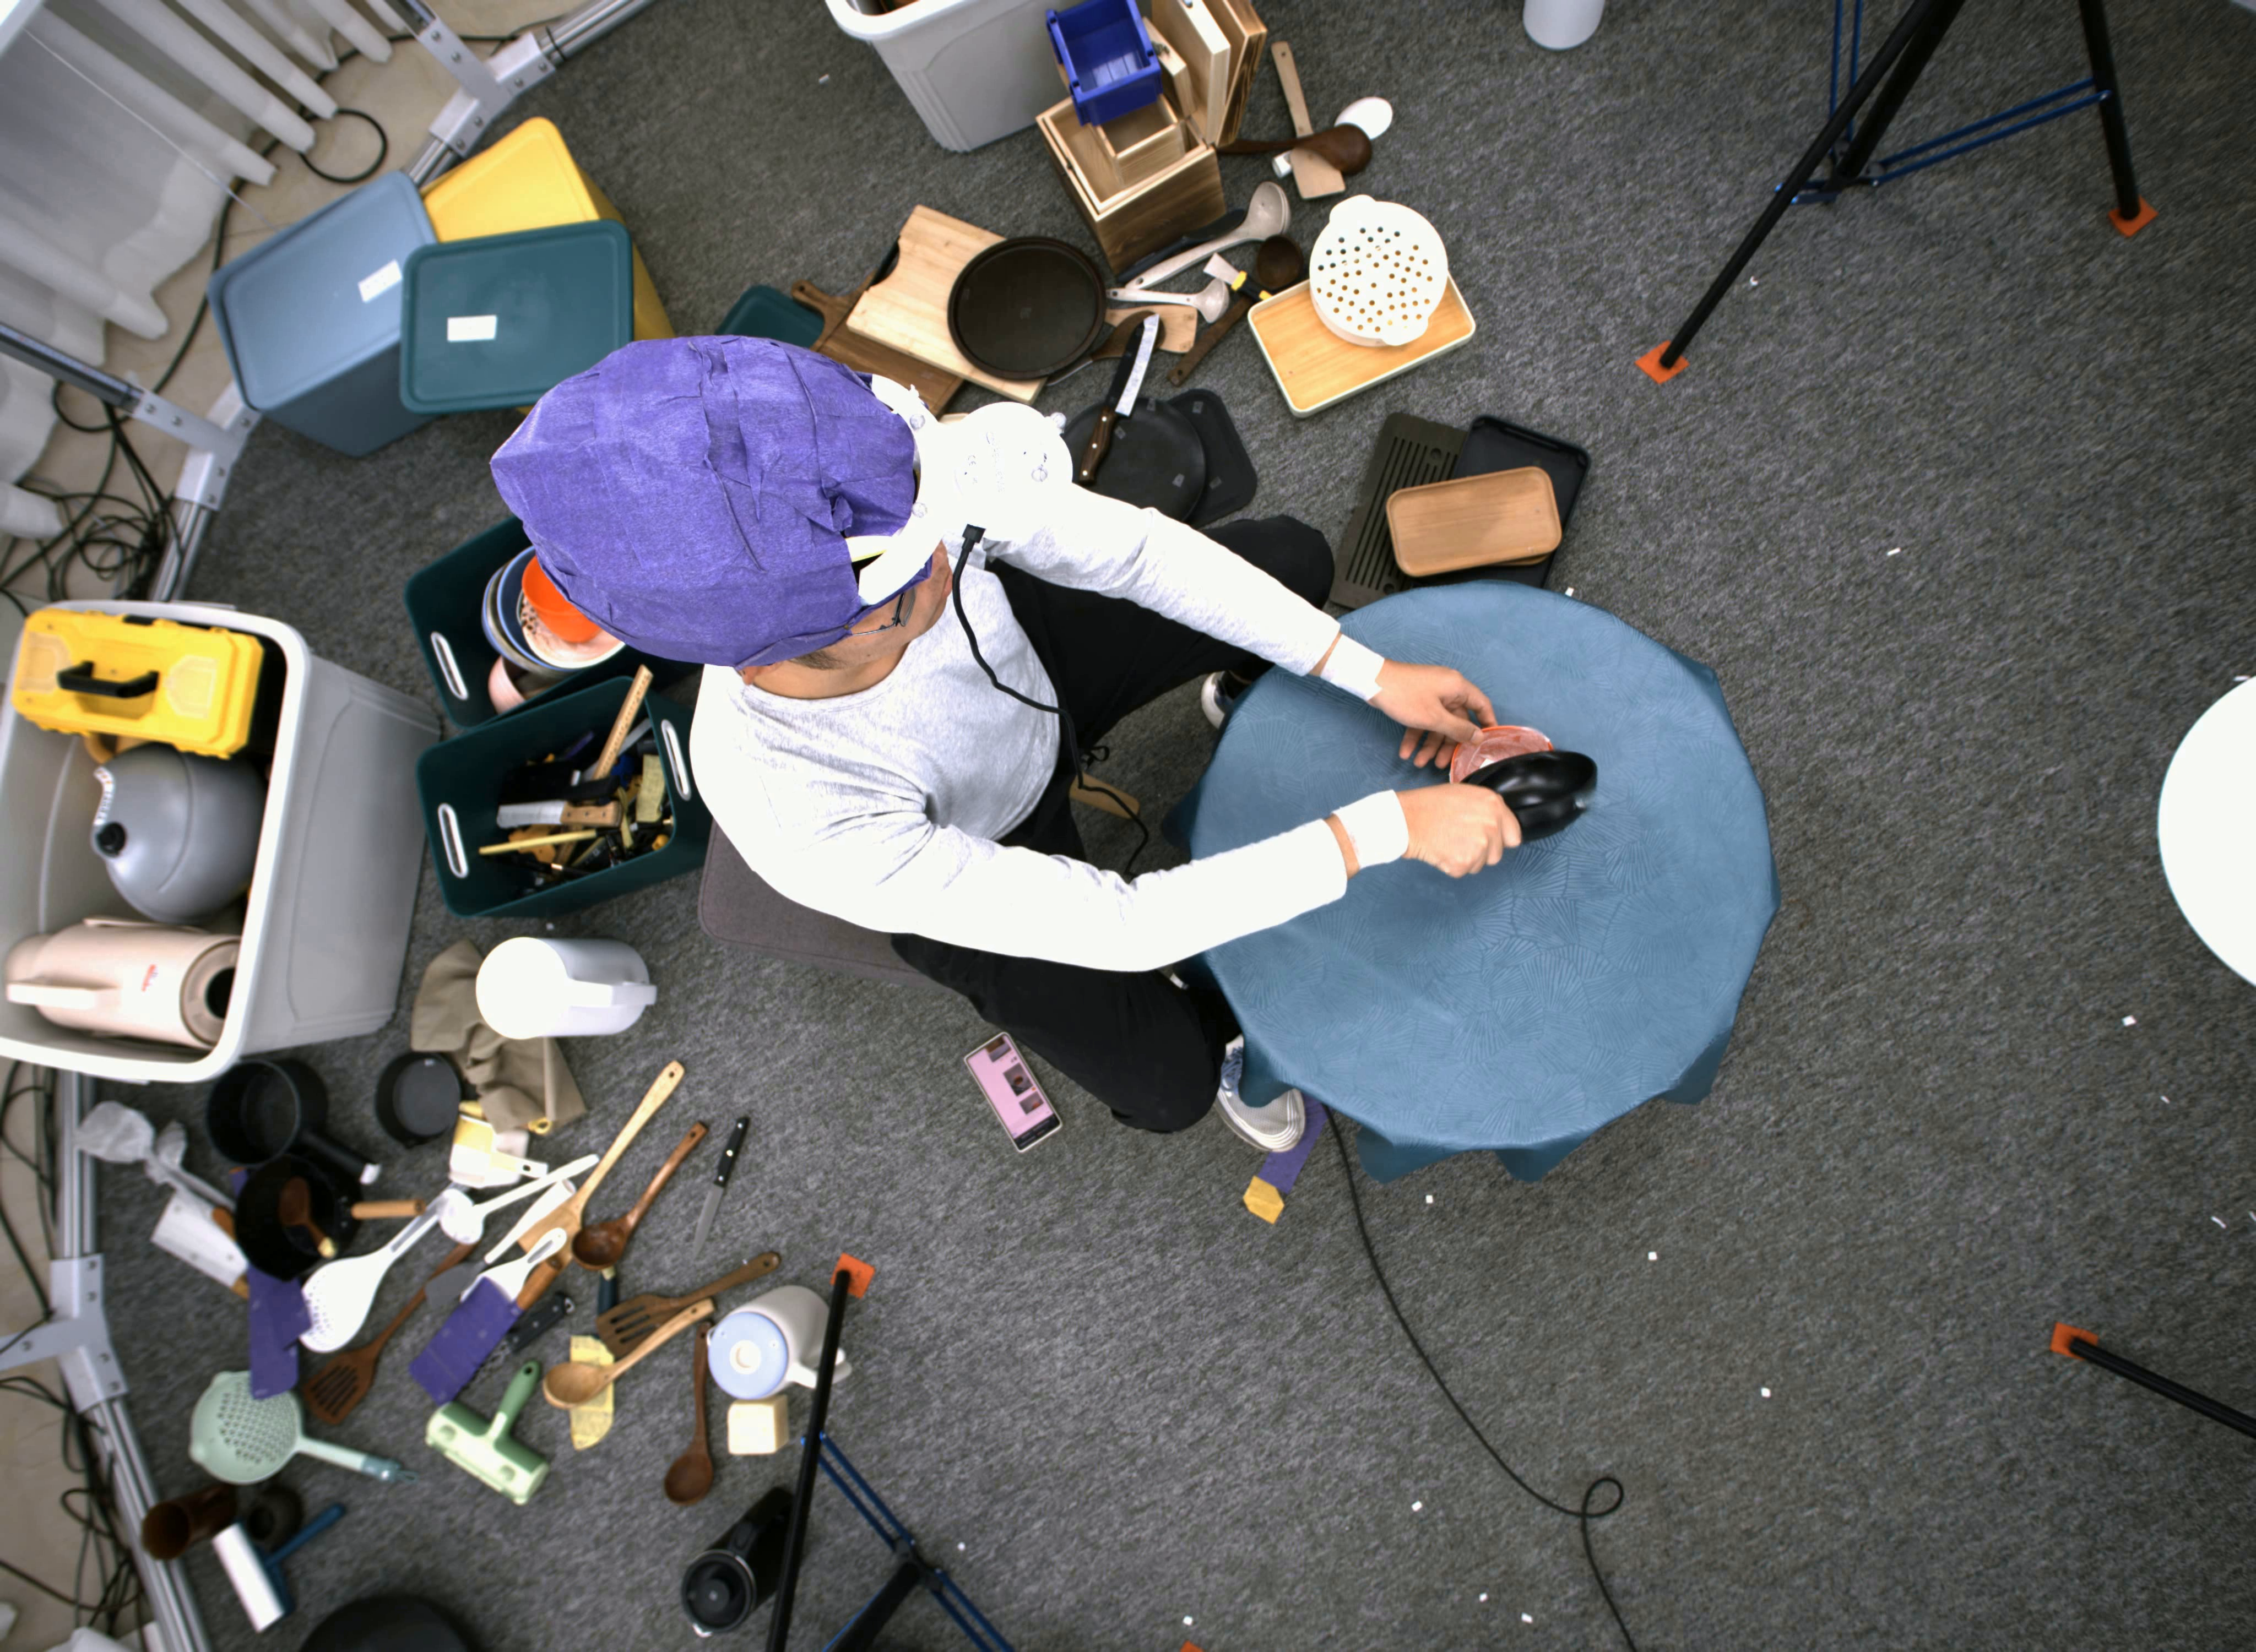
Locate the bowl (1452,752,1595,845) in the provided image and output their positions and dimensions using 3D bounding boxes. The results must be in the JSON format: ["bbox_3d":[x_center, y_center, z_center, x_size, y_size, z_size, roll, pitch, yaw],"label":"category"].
[{"bbox_3d":[0.389,-0.022,1.330,0.141,0.137,0.050,-23,108,7],"label":"bowl"}]

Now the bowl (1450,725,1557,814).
[{"bbox_3d":[0.387,-0.049,1.418,0.119,0.051,0.118,-1,88,9],"label":"bowl"}]
